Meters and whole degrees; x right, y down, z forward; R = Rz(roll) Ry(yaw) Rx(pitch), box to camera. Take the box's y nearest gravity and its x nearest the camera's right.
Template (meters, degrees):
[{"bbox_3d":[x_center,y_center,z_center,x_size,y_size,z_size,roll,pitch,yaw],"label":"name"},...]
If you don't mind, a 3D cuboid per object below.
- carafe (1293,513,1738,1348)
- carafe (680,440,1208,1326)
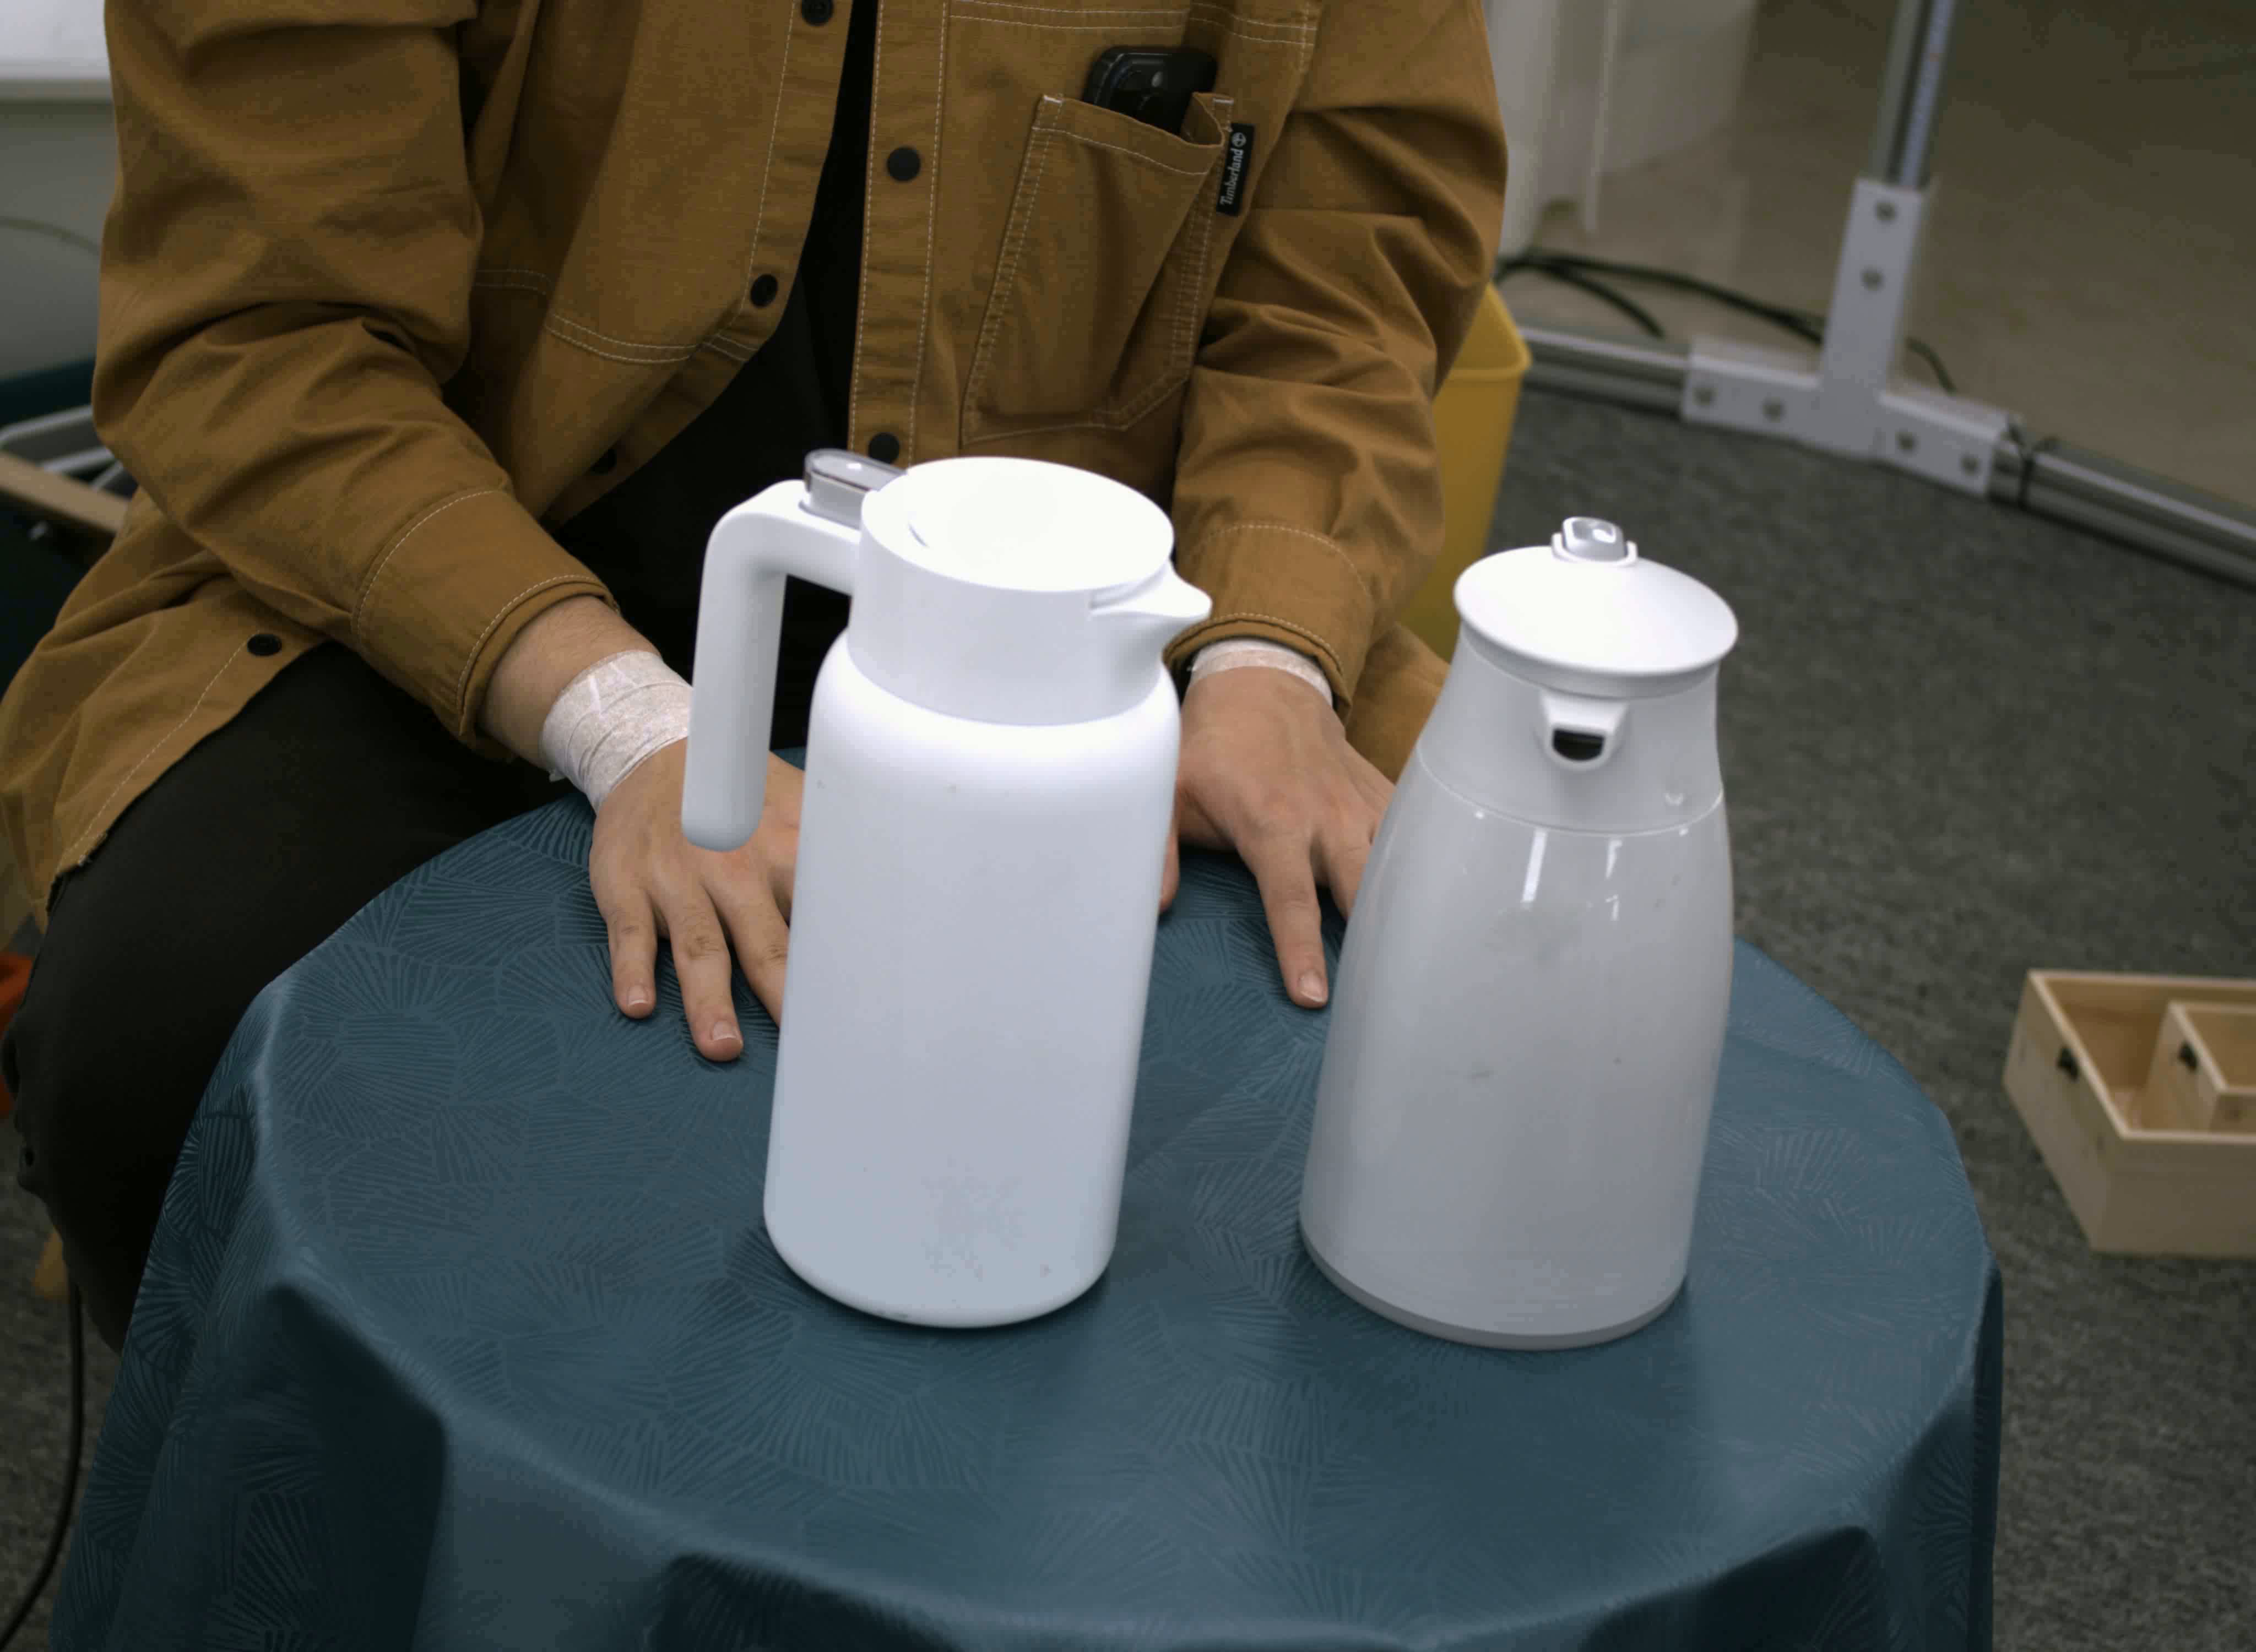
[{"bbox_3d":[0.136,0.023,1.760,0.132,0.248,0.168,8,25,2],"label":"carafe"},{"bbox_3d":[-0.065,0.016,1.709,0.173,0.268,0.124,18,31,22],"label":"carafe"}]
